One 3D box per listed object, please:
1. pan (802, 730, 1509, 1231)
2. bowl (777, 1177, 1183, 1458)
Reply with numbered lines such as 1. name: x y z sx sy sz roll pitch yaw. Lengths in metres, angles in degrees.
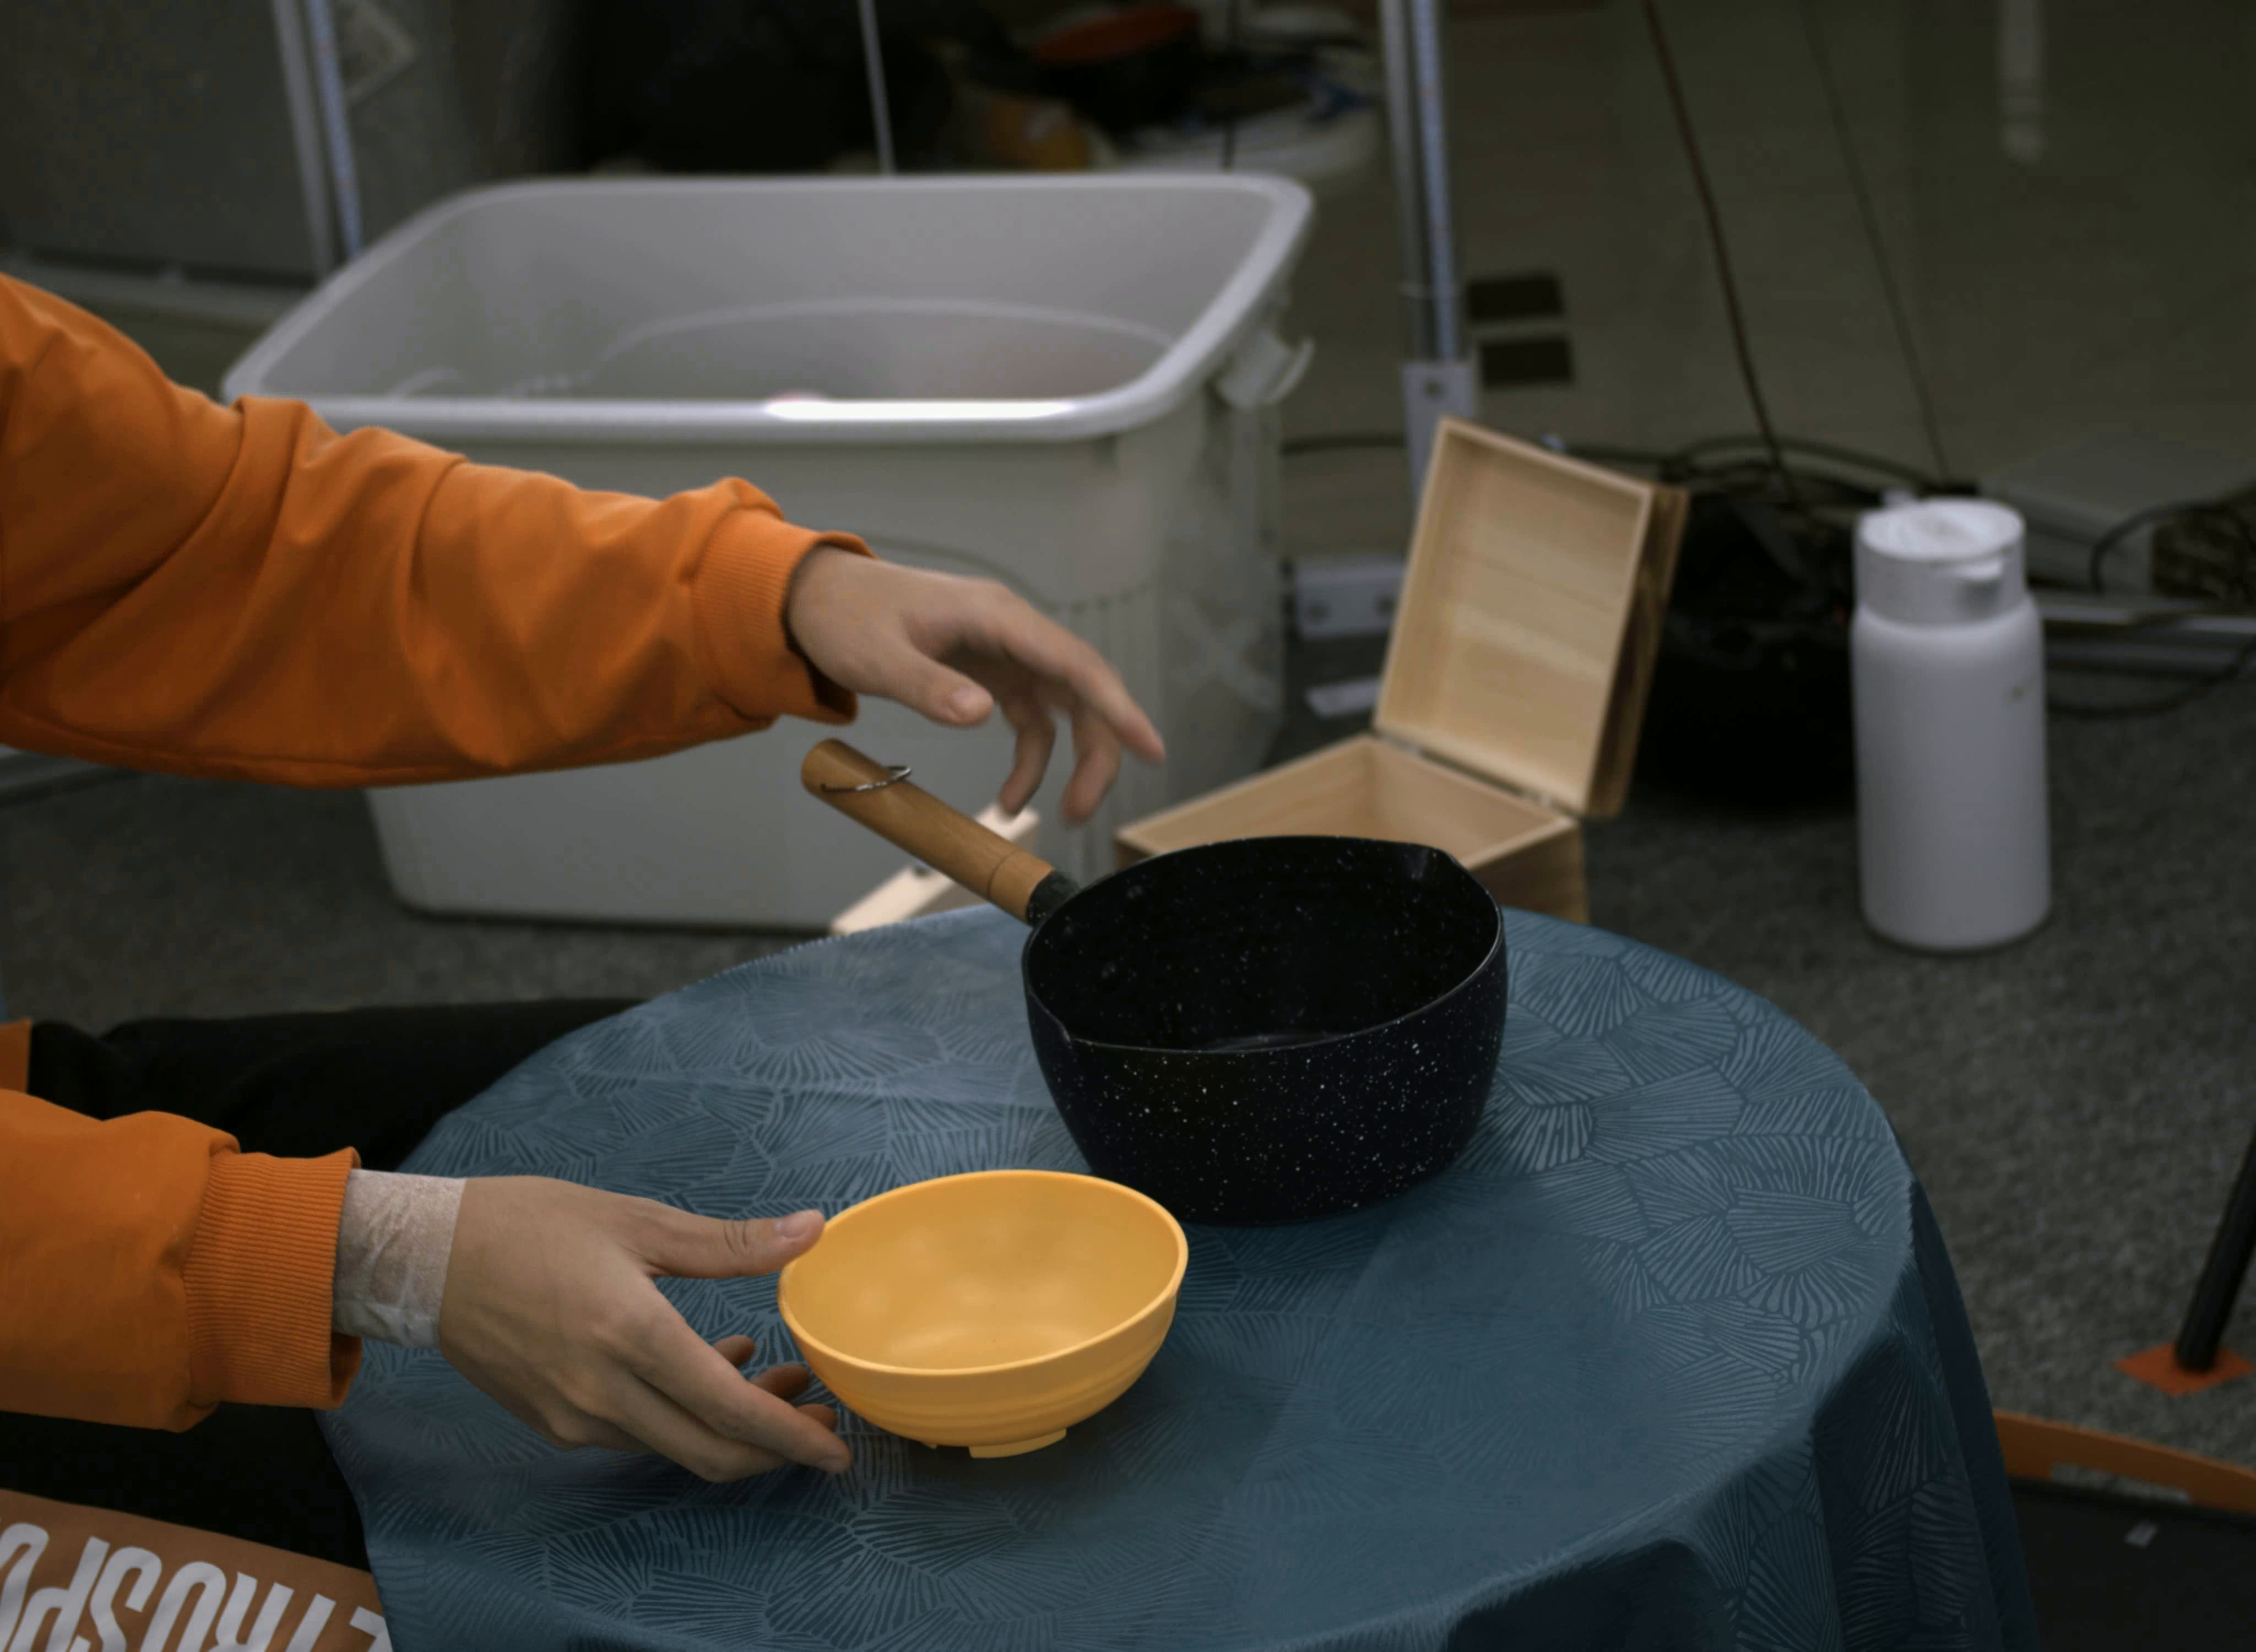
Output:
1. pan: -0.003 0.052 2.204 0.340 0.110 0.205 19 36 40
2. bowl: -0.050 0.181 1.999 0.145 0.061 0.143 -5 24 2
